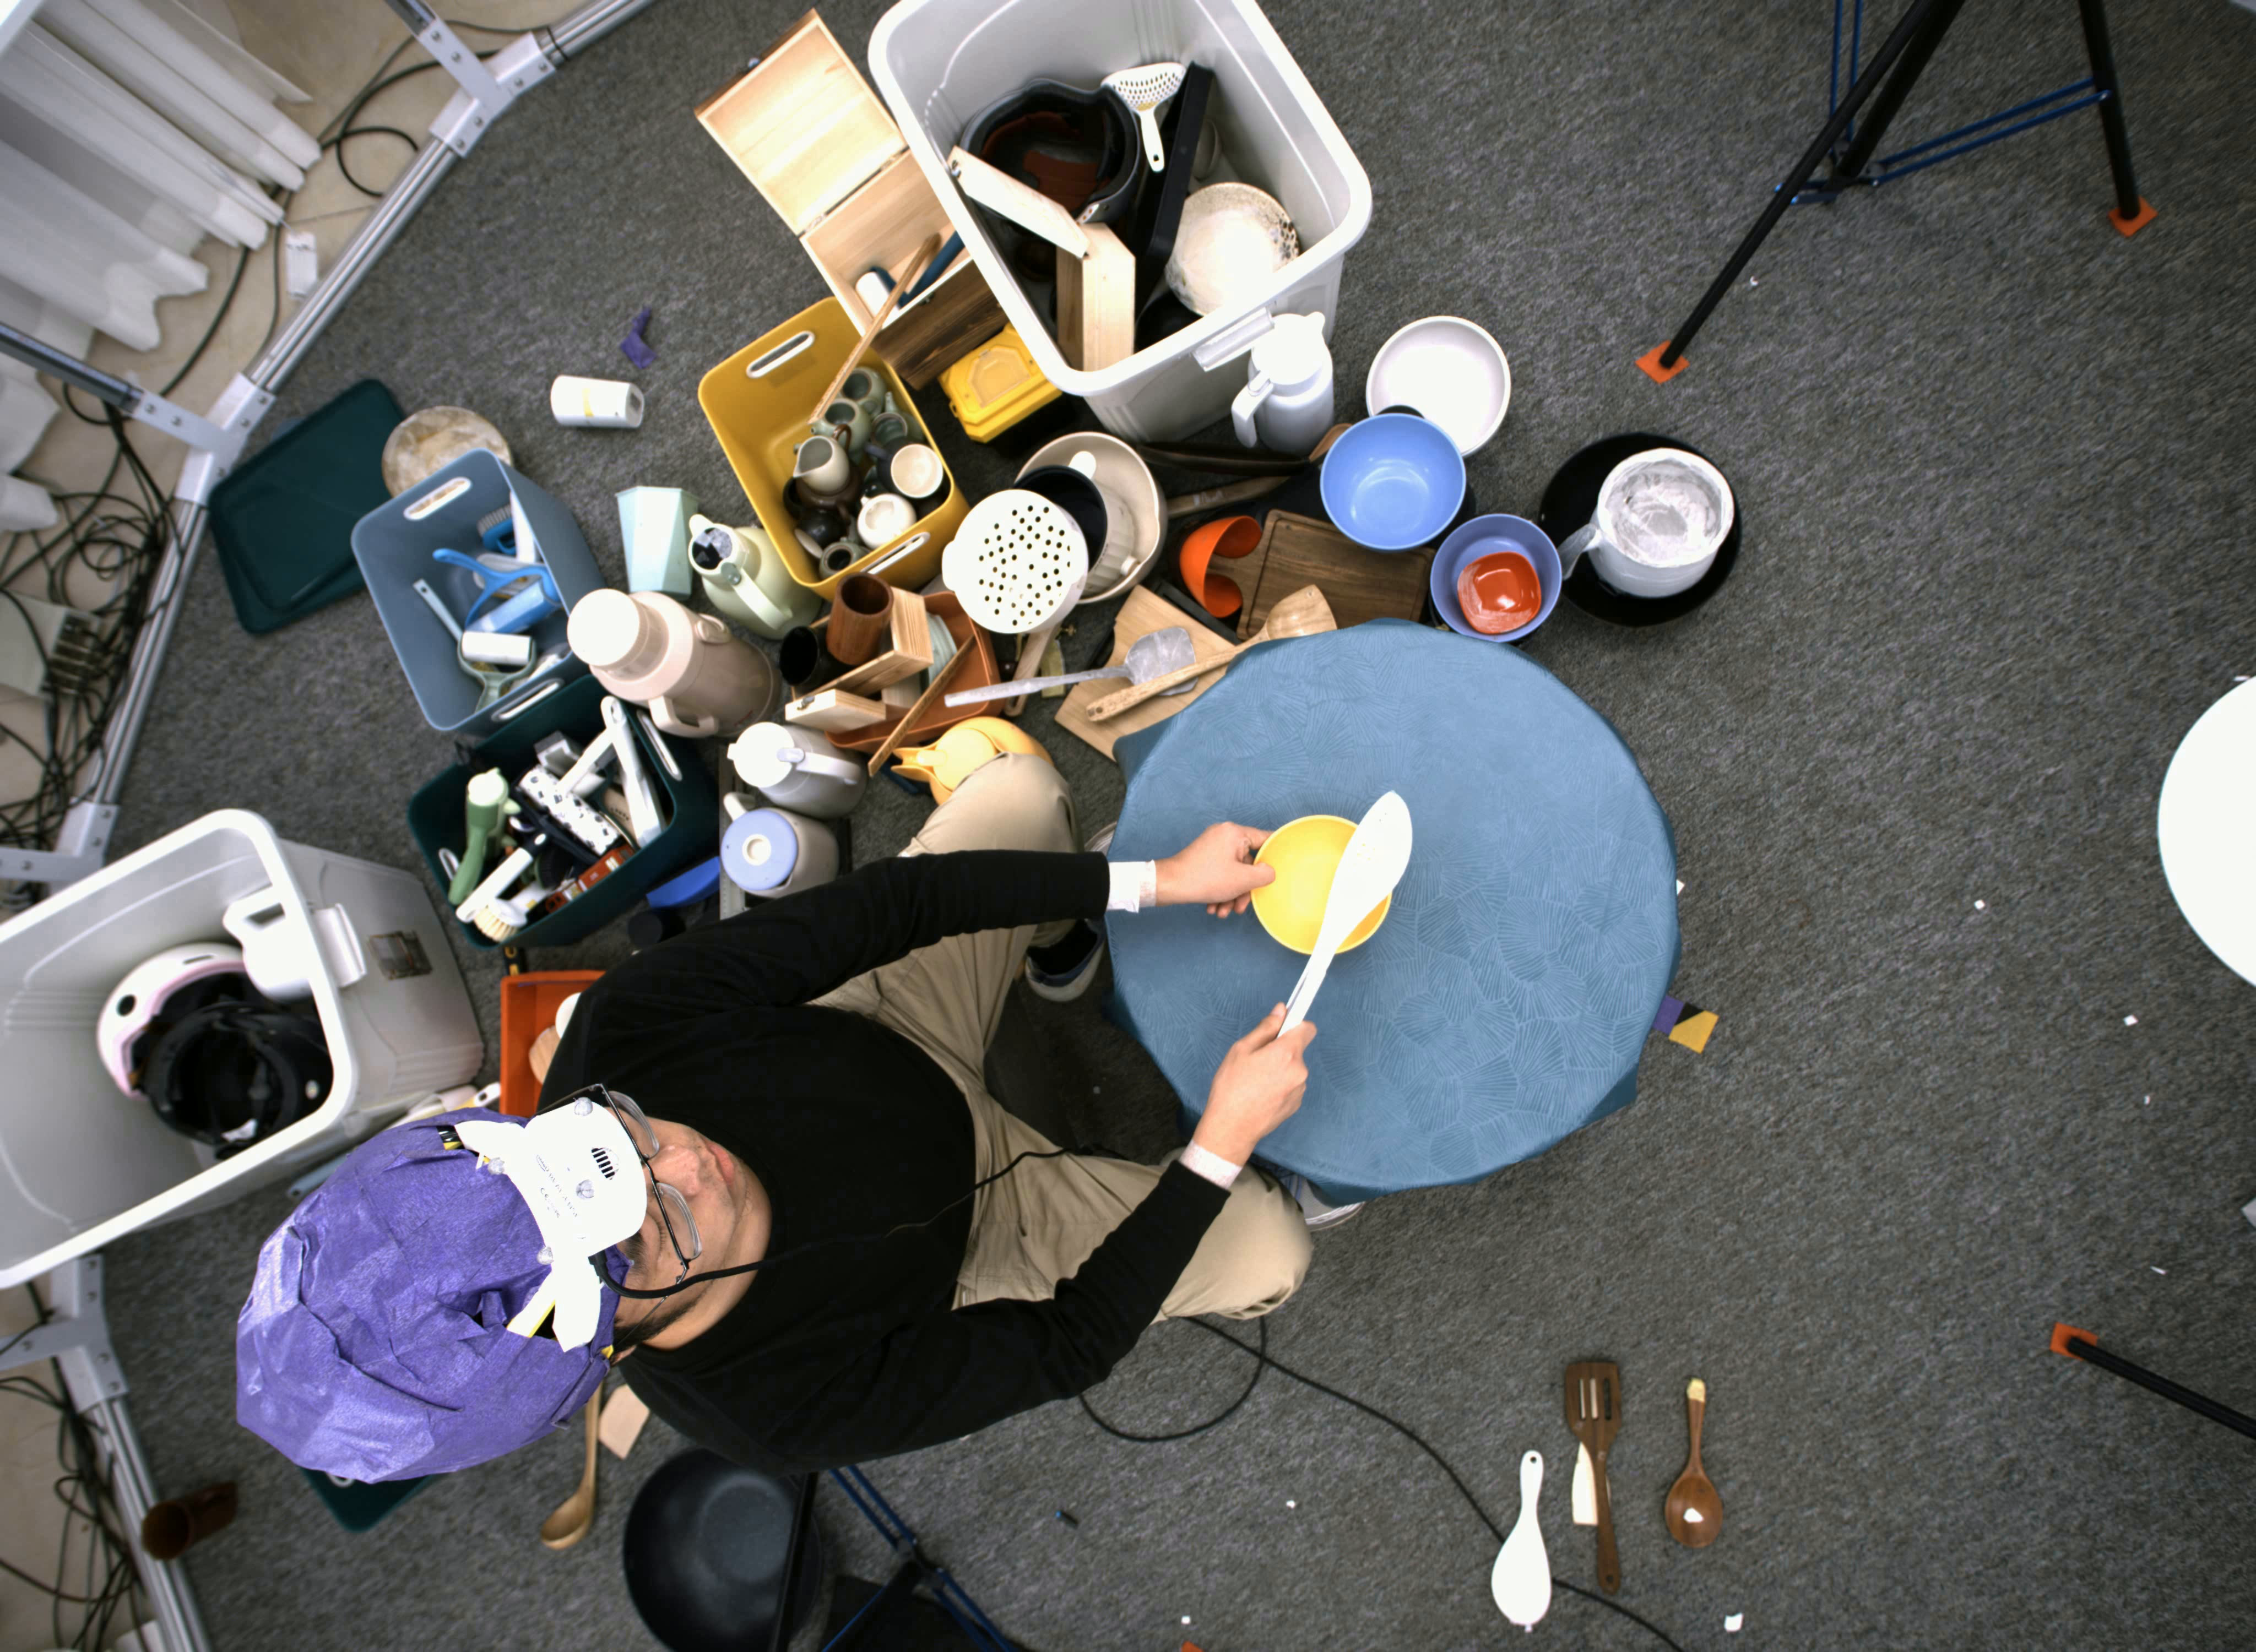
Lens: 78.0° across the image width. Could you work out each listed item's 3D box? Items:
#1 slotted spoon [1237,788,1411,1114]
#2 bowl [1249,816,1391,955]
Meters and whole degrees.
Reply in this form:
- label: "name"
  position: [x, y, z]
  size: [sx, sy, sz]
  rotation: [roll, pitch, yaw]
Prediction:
- label: "slotted spoon"
  position: [0.191, 0.123, 1.356]
  size: [0.046, 0.135, 0.350]
  rotation: [30, 93, -6]
- label: "bowl"
  position: [0.201, 0.065, 1.446]
  size: [0.146, 0.060, 0.144]
  rotation: [-2, 82, 10]
